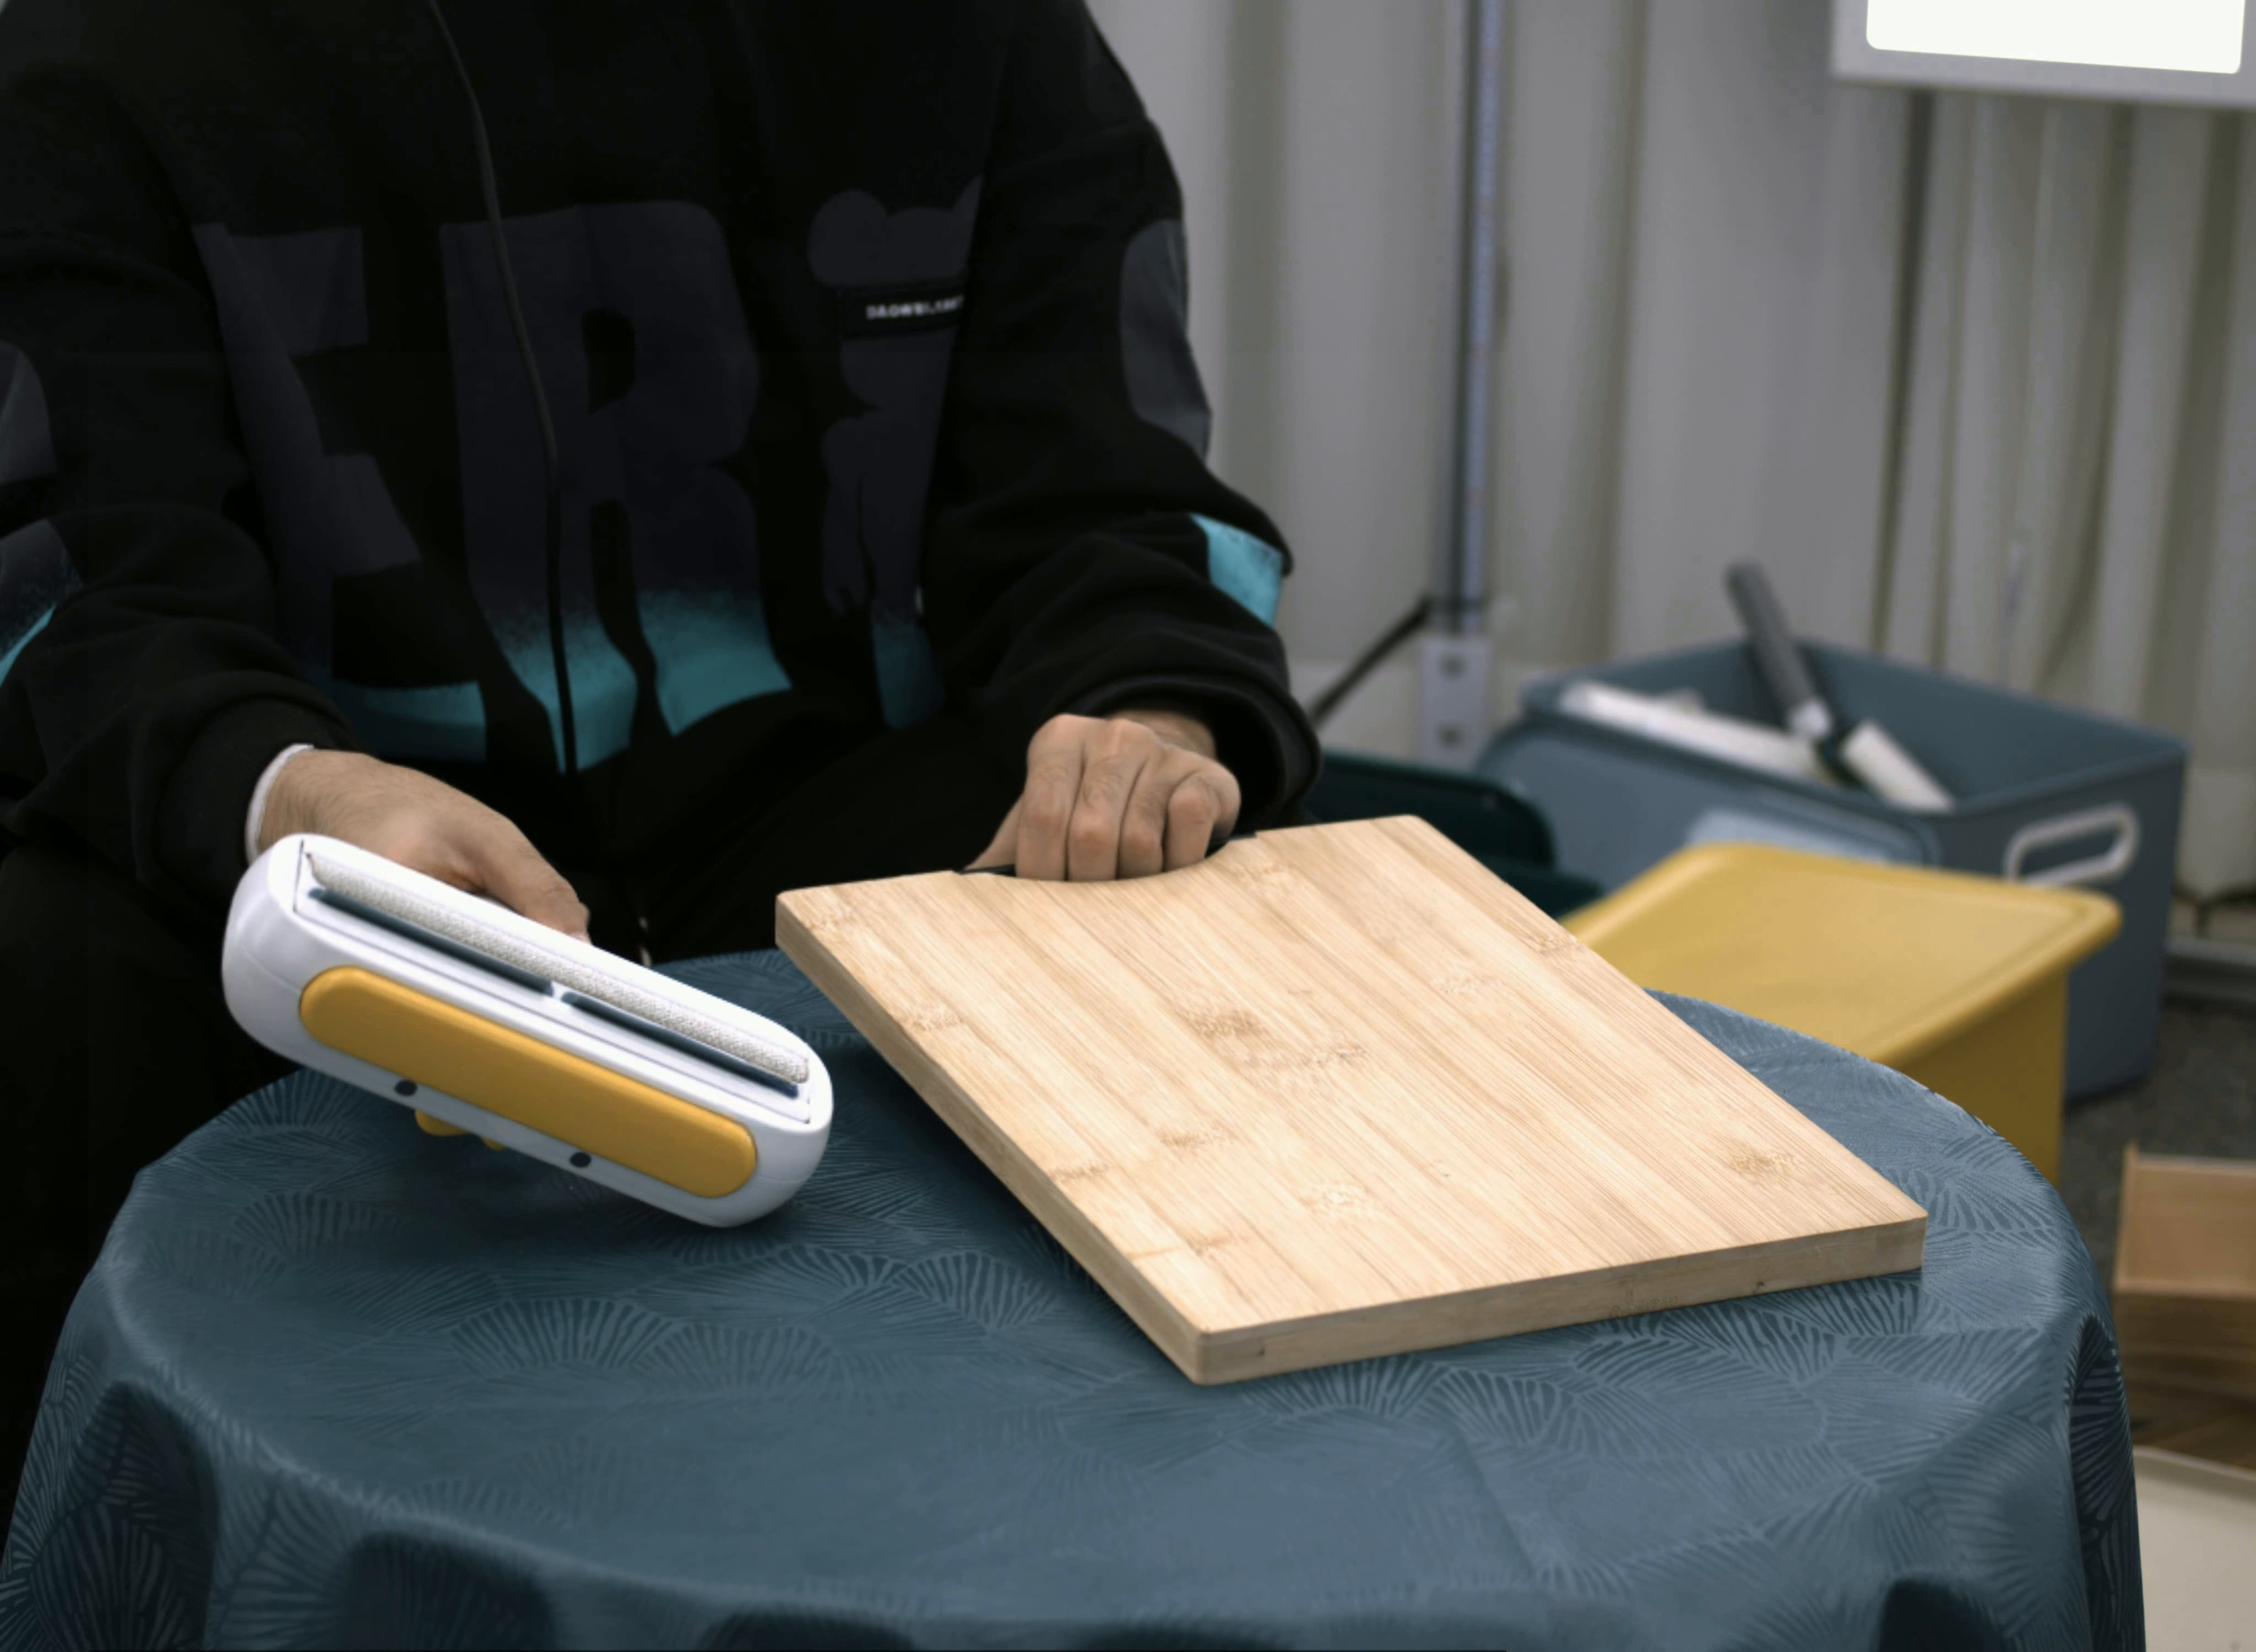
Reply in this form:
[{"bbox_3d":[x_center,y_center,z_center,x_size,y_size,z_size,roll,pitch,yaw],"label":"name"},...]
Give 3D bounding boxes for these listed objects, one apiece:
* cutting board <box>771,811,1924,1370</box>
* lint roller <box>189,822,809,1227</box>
[{"bbox_3d":[0.058,0.075,1.655,0.251,0.024,0.344,-7,23,-24],"label":"cutting board"},{"bbox_3d":[-0.194,0.045,1.620,0.193,0.074,0.191,21,18,-13],"label":"lint roller"}]
